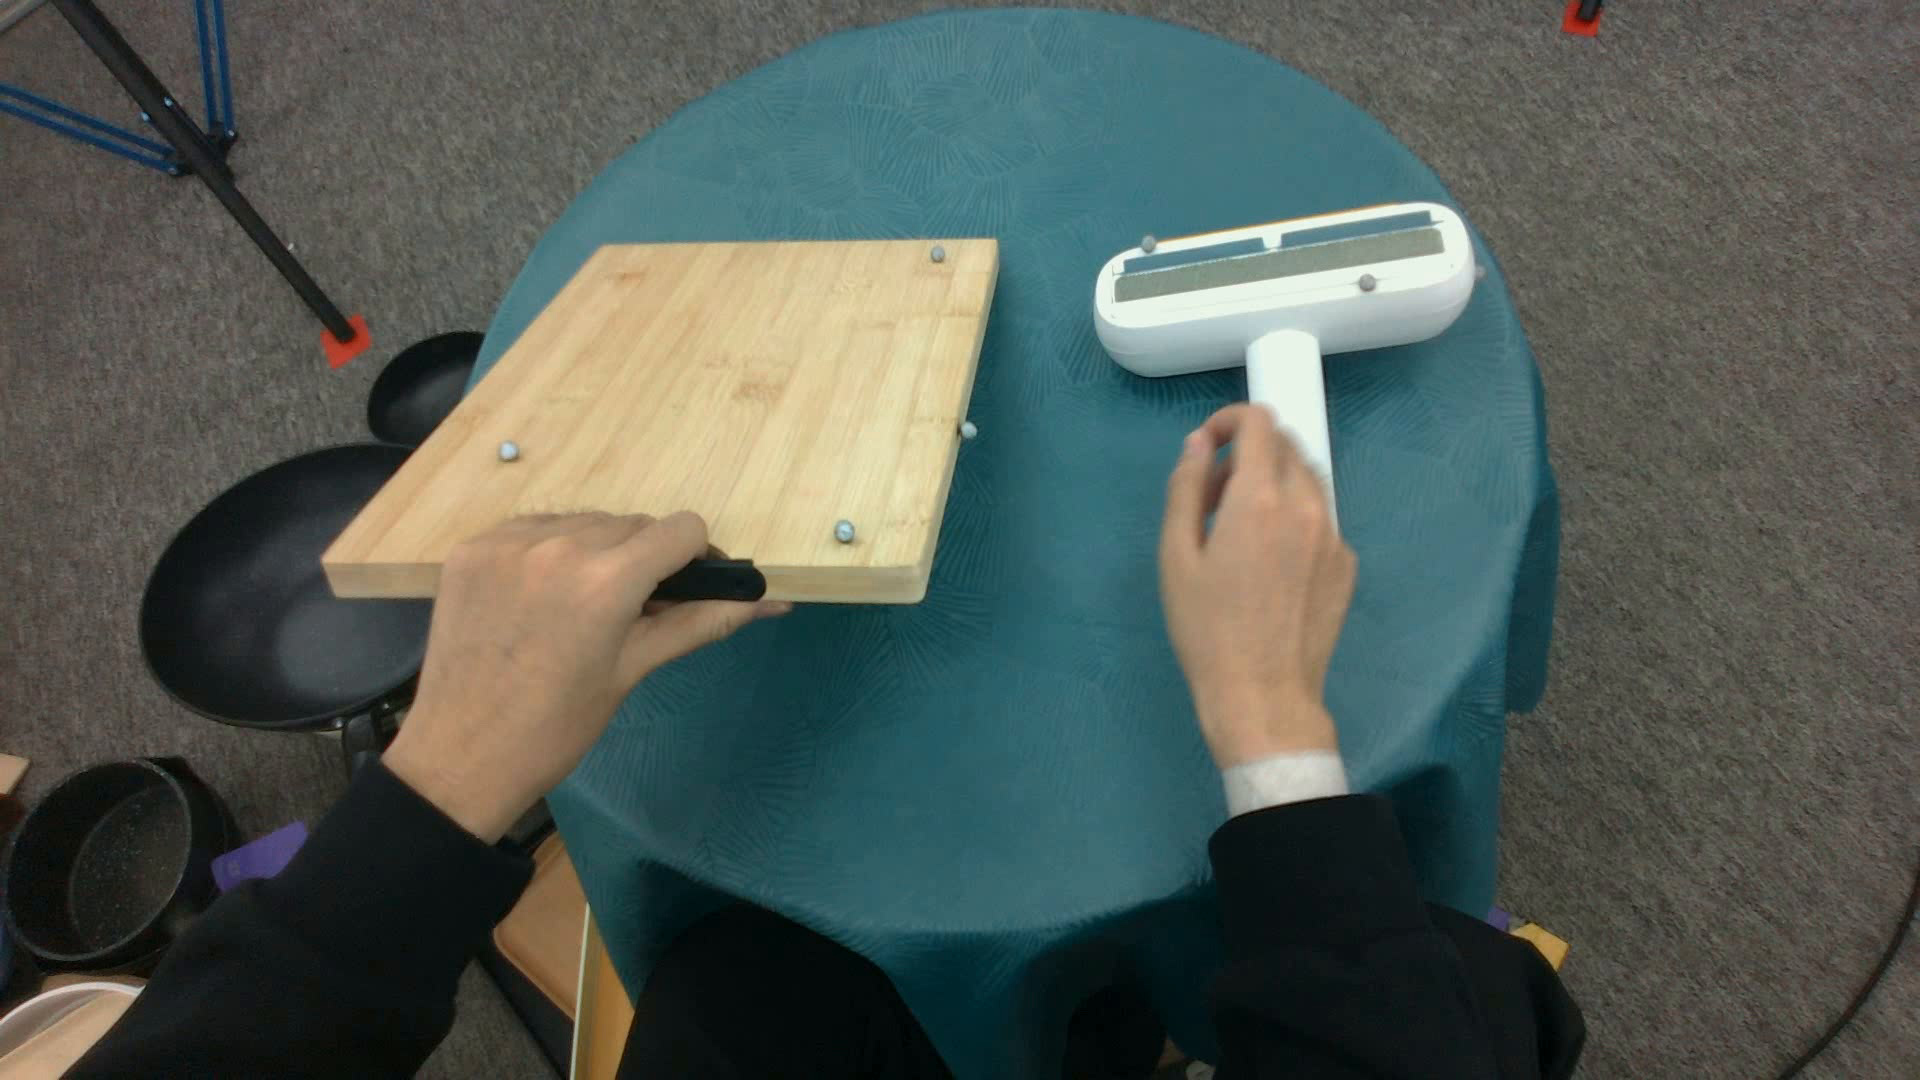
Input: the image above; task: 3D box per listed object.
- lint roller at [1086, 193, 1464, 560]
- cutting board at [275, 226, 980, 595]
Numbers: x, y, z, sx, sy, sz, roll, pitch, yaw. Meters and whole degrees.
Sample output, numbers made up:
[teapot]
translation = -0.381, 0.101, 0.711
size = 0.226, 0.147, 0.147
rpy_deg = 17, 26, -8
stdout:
[lint roller]
translation = 0.160, -0.086, 0.709
size = 0.192, 0.074, 0.193
rpy_deg = -1, 64, 11
[cutting board]
translation = -0.127, -0.081, 0.667
size = 0.250, 0.023, 0.350
rpy_deg = 0, 33, 6
